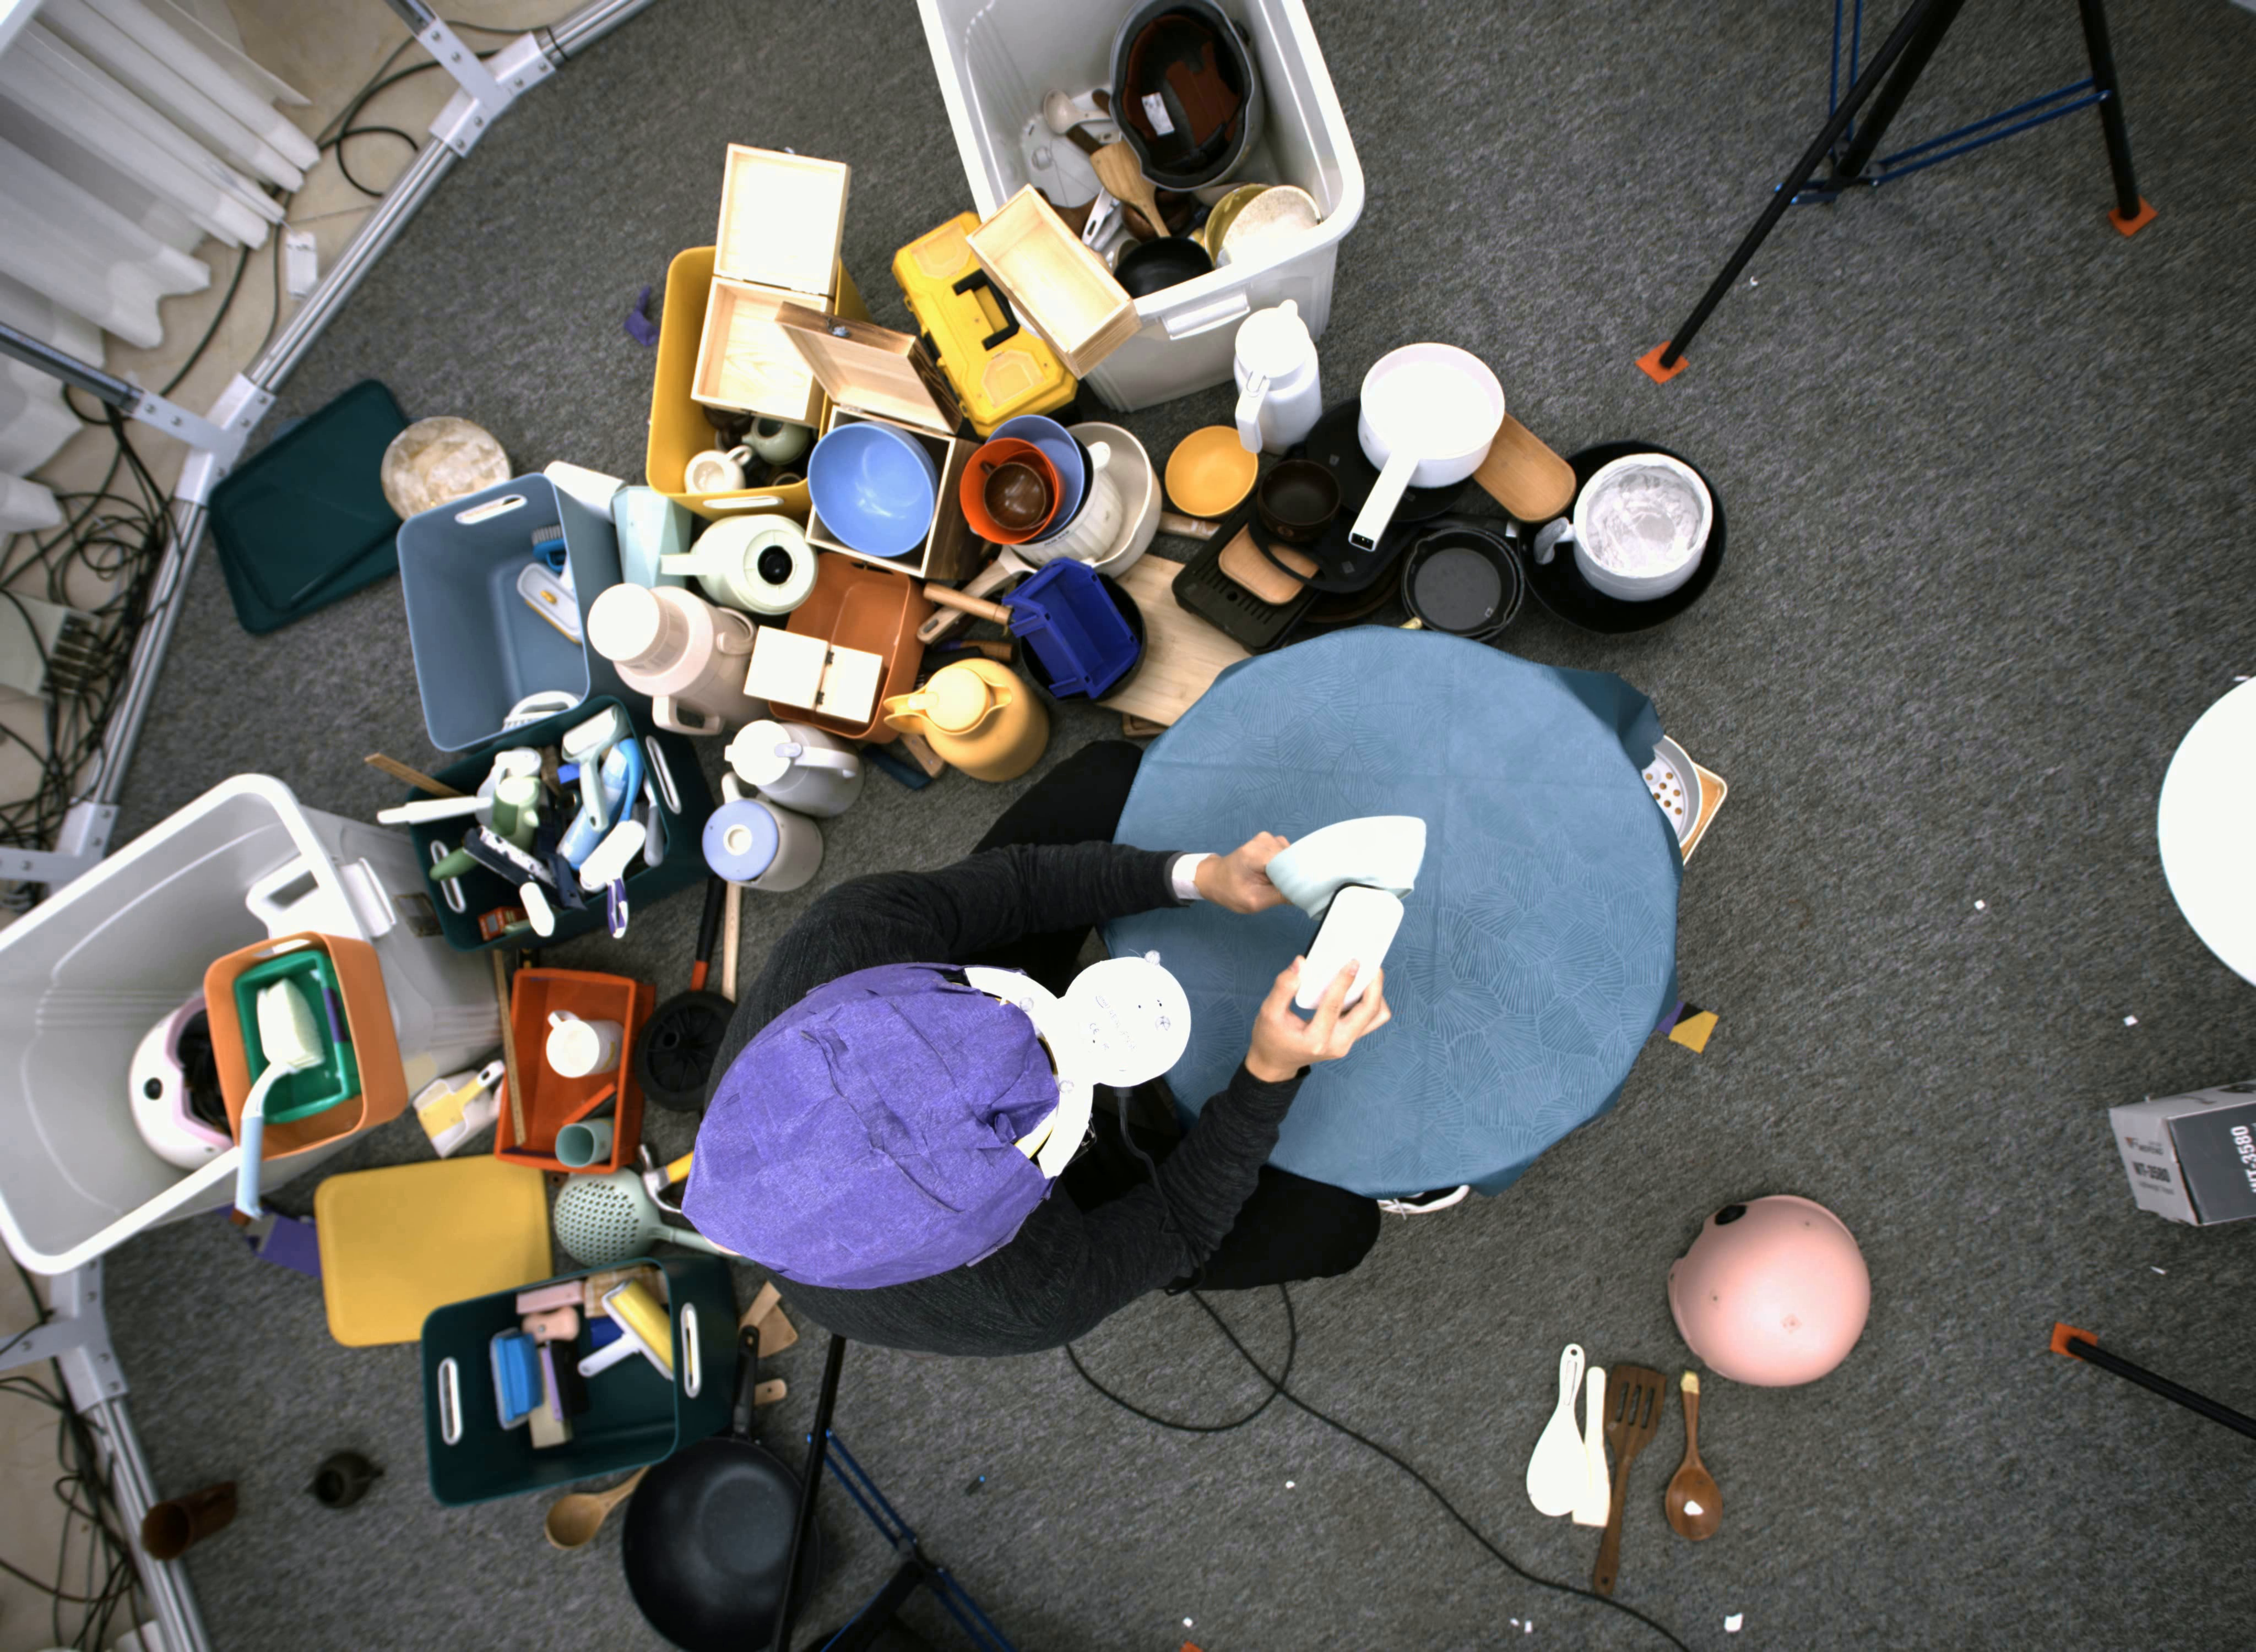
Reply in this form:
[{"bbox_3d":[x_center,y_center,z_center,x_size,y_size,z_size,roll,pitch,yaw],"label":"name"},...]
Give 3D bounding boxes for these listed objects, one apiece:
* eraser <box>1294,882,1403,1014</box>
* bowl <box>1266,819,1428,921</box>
[{"bbox_3d":[0.192,0.109,1.221,0.063,0.034,0.134,9,123,-19],"label":"eraser"},{"bbox_3d":[0.205,0.045,1.254,0.152,0.153,0.058,-15,72,8],"label":"bowl"}]
